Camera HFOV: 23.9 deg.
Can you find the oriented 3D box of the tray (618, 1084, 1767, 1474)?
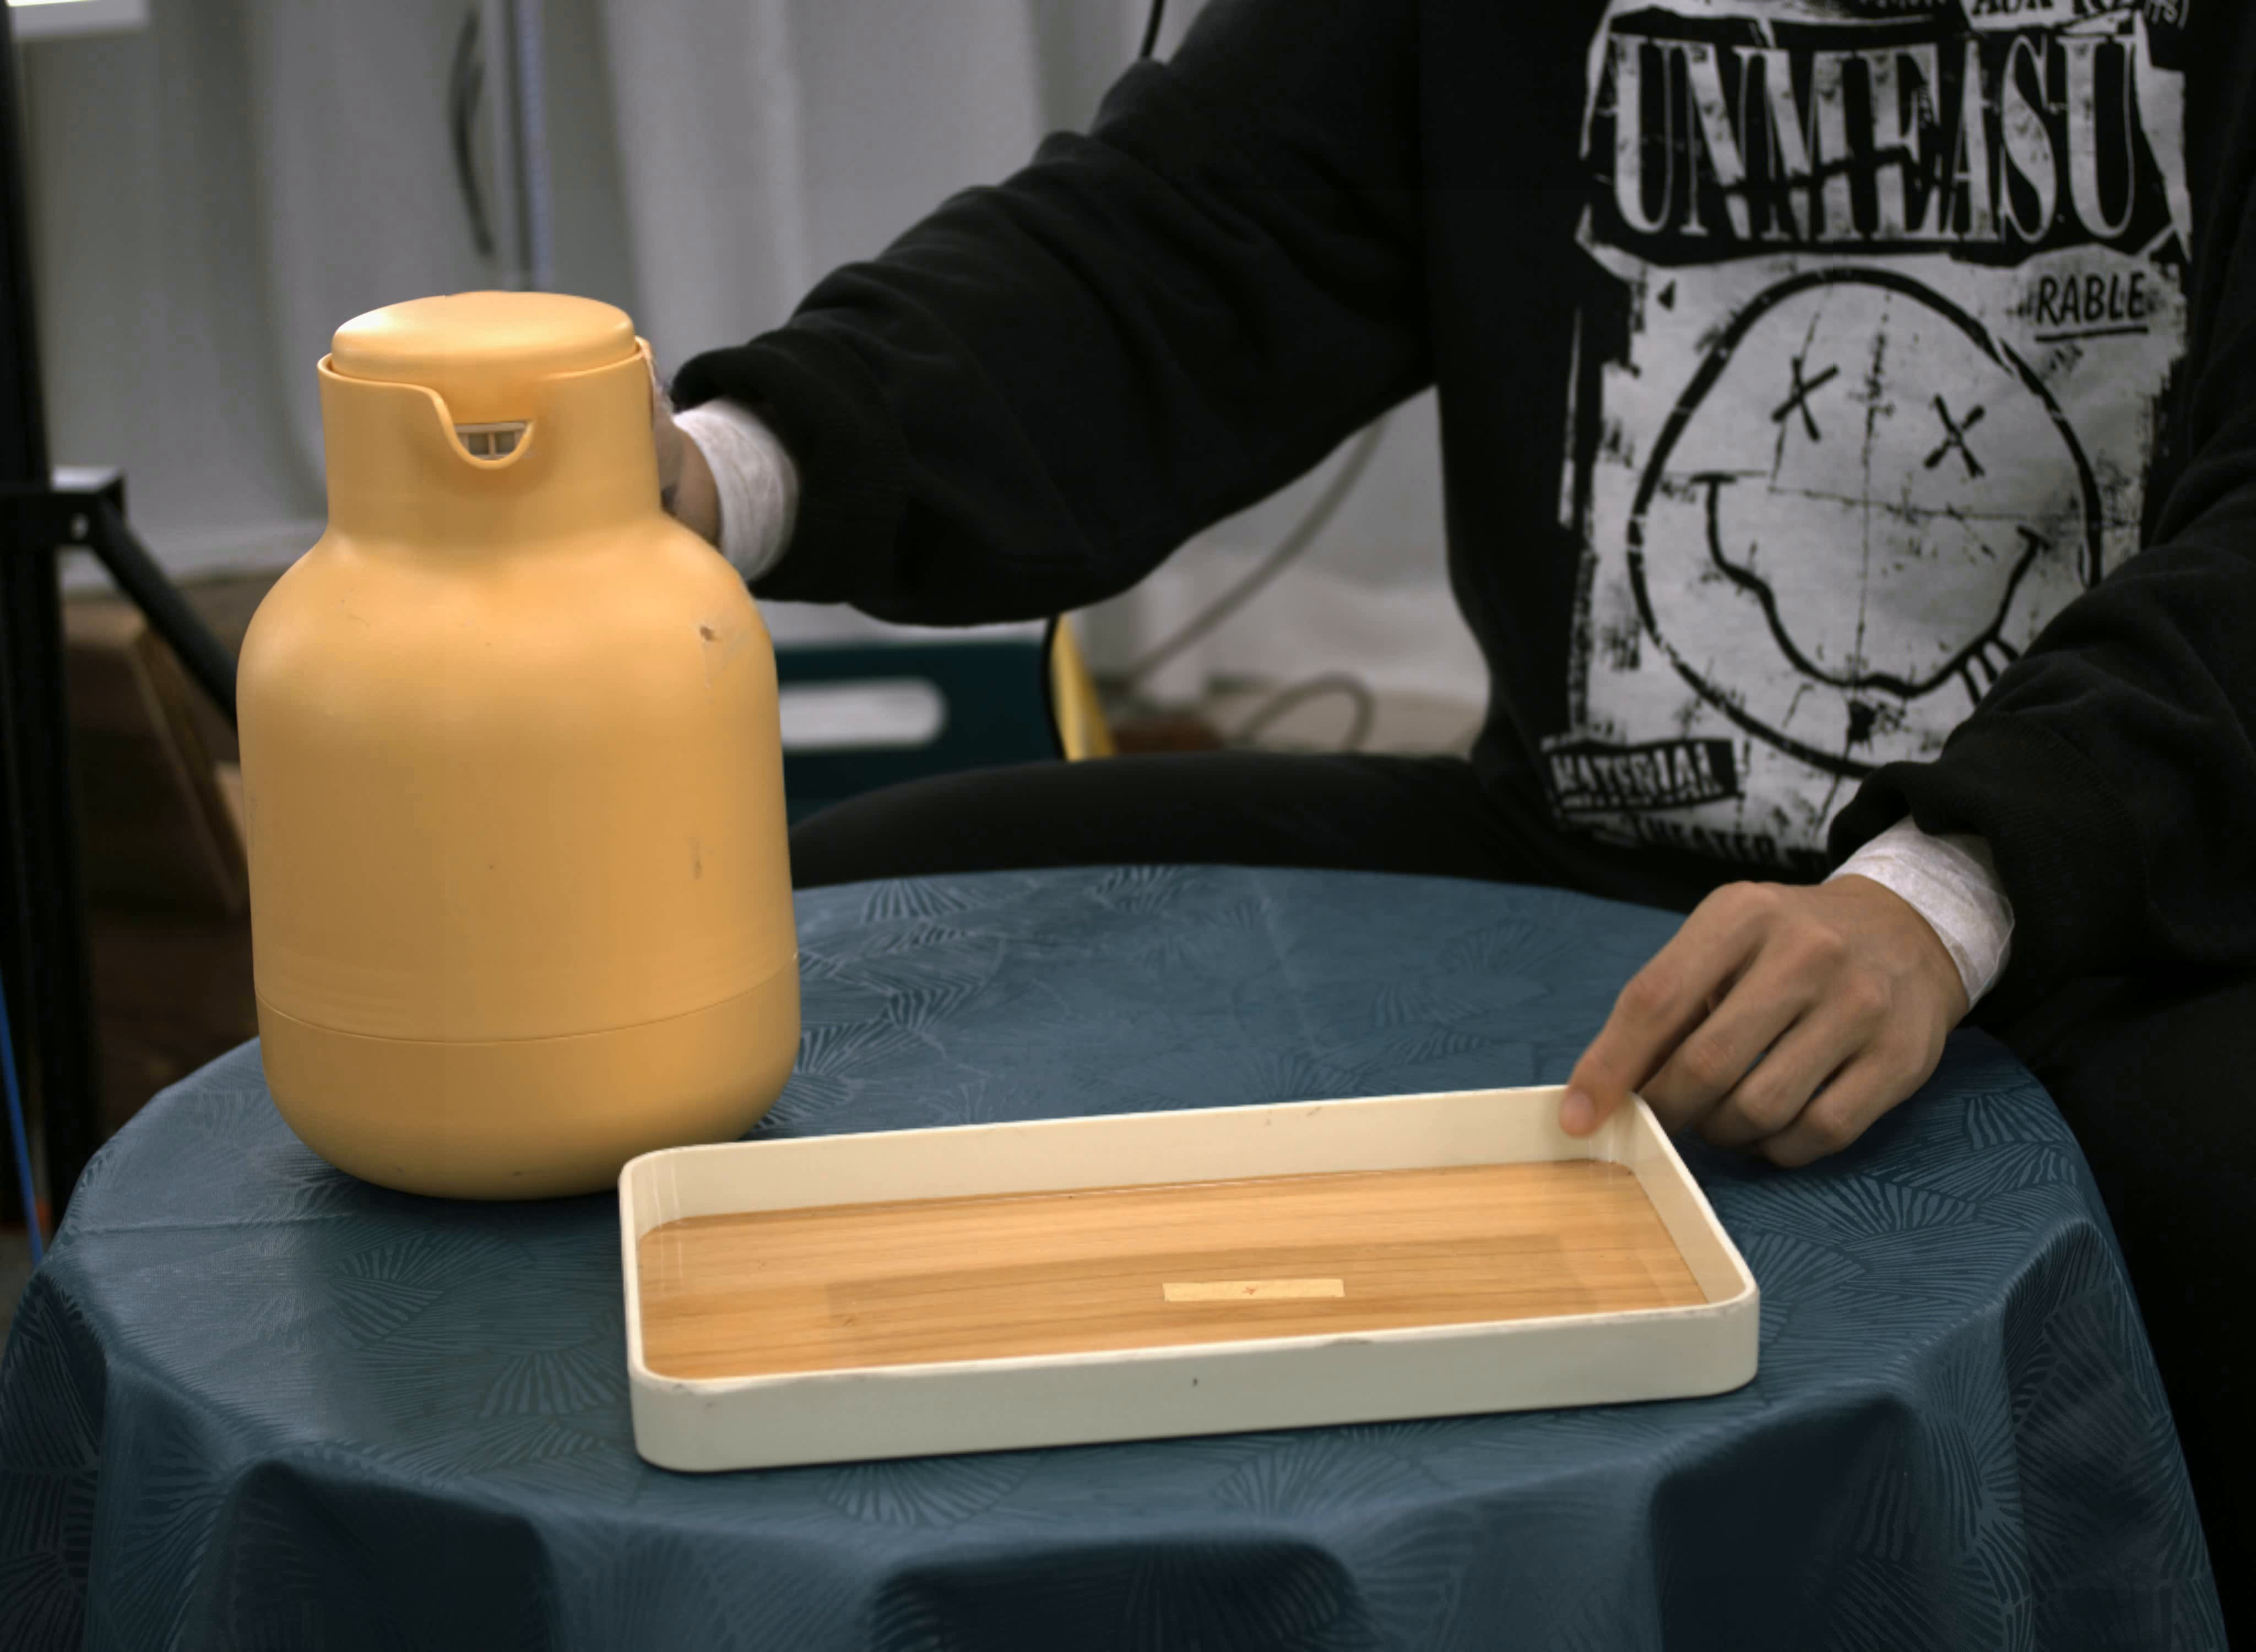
[{"bbox_3d":[0.012,0.122,1.455,0.298,0.027,0.193,-4,16,-3],"label":"tray"}]

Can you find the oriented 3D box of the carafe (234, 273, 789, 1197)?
[{"bbox_3d":[-0.185,-0.035,1.611,0.162,0.260,0.204,-1,16,-3],"label":"carafe"}]
